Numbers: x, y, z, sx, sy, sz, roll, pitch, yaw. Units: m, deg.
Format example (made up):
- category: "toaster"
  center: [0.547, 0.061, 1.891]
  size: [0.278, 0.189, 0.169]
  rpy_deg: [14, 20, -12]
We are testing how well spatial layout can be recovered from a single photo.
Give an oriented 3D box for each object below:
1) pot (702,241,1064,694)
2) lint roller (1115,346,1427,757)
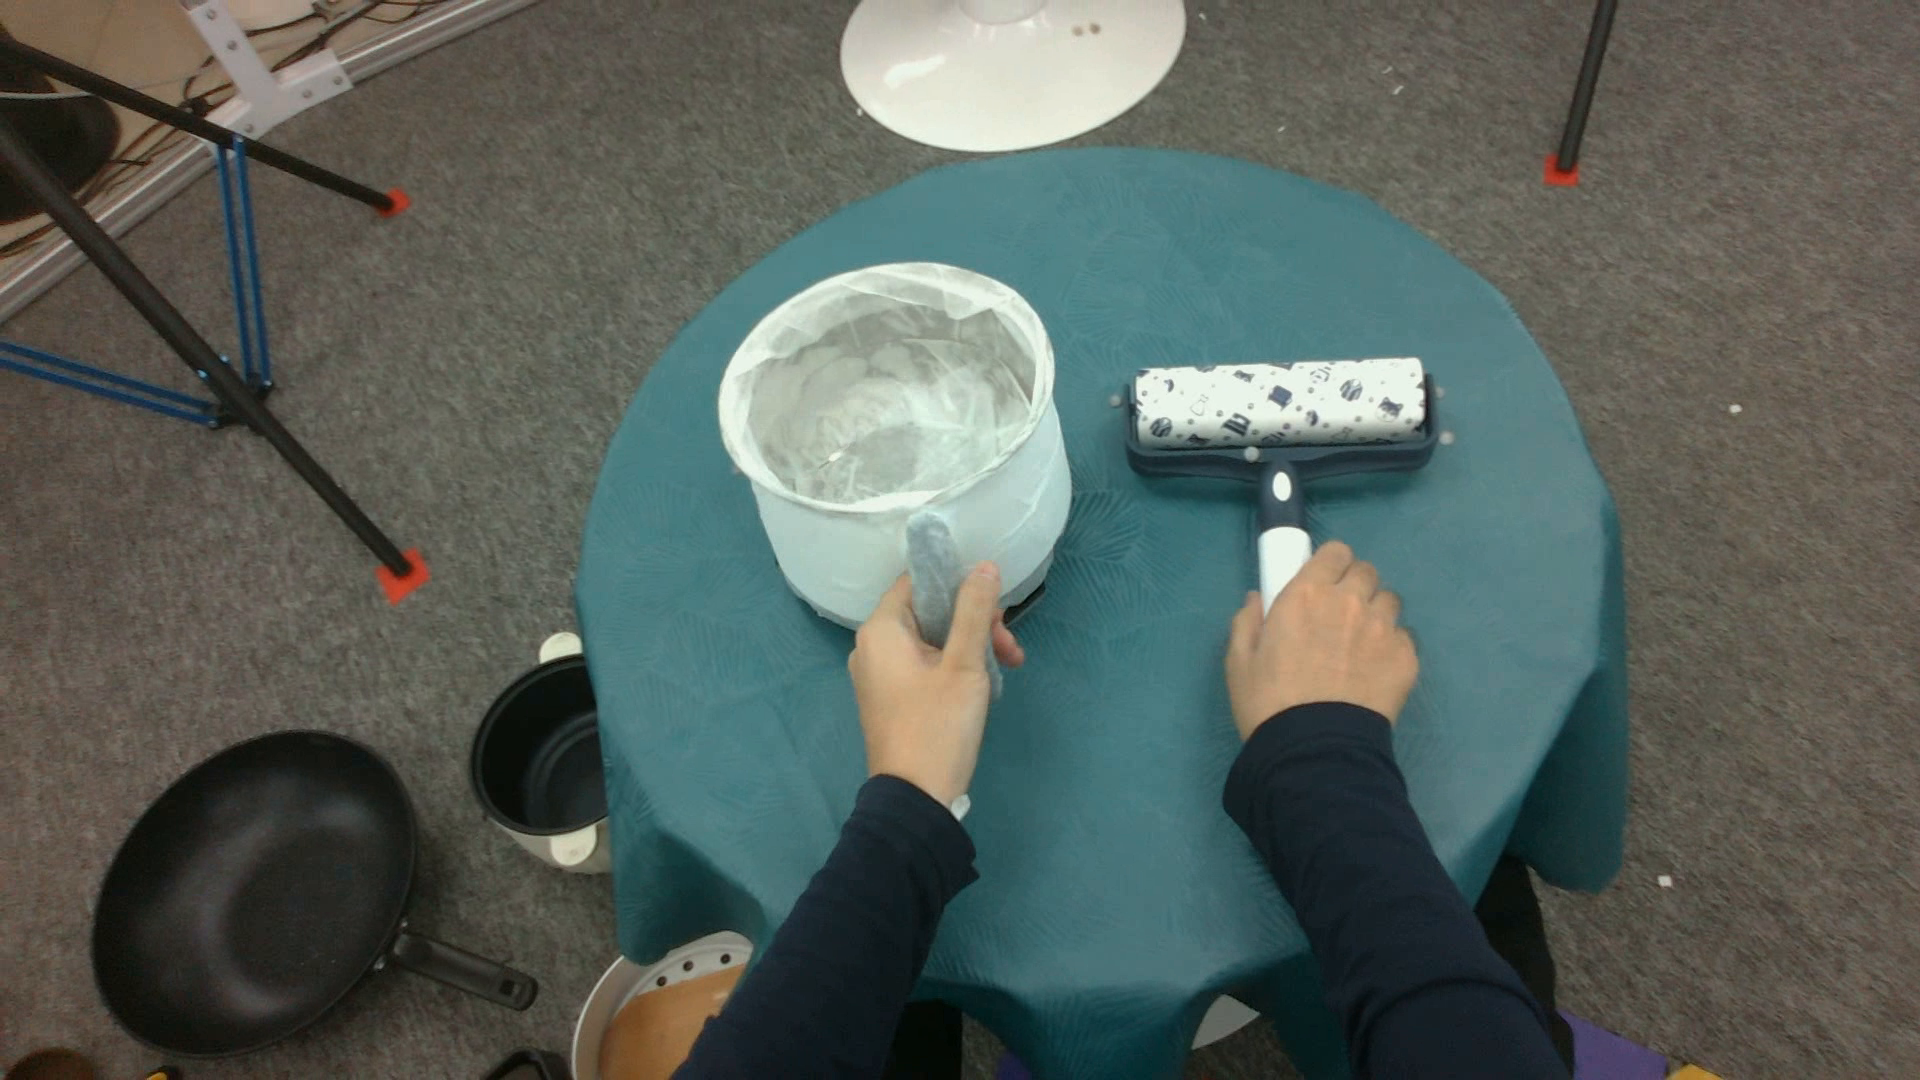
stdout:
- category: "pot"
  center: [-0.029, -0.036, 0.739]
  size: [0.179, 0.136, 0.234]
  rpy_deg: [-18, 49, 0]
- category: "lint roller"
  center: [0.175, -0.003, 0.753]
  size: [0.176, 0.050, 0.248]
  rpy_deg: [-1, 58, 7]
